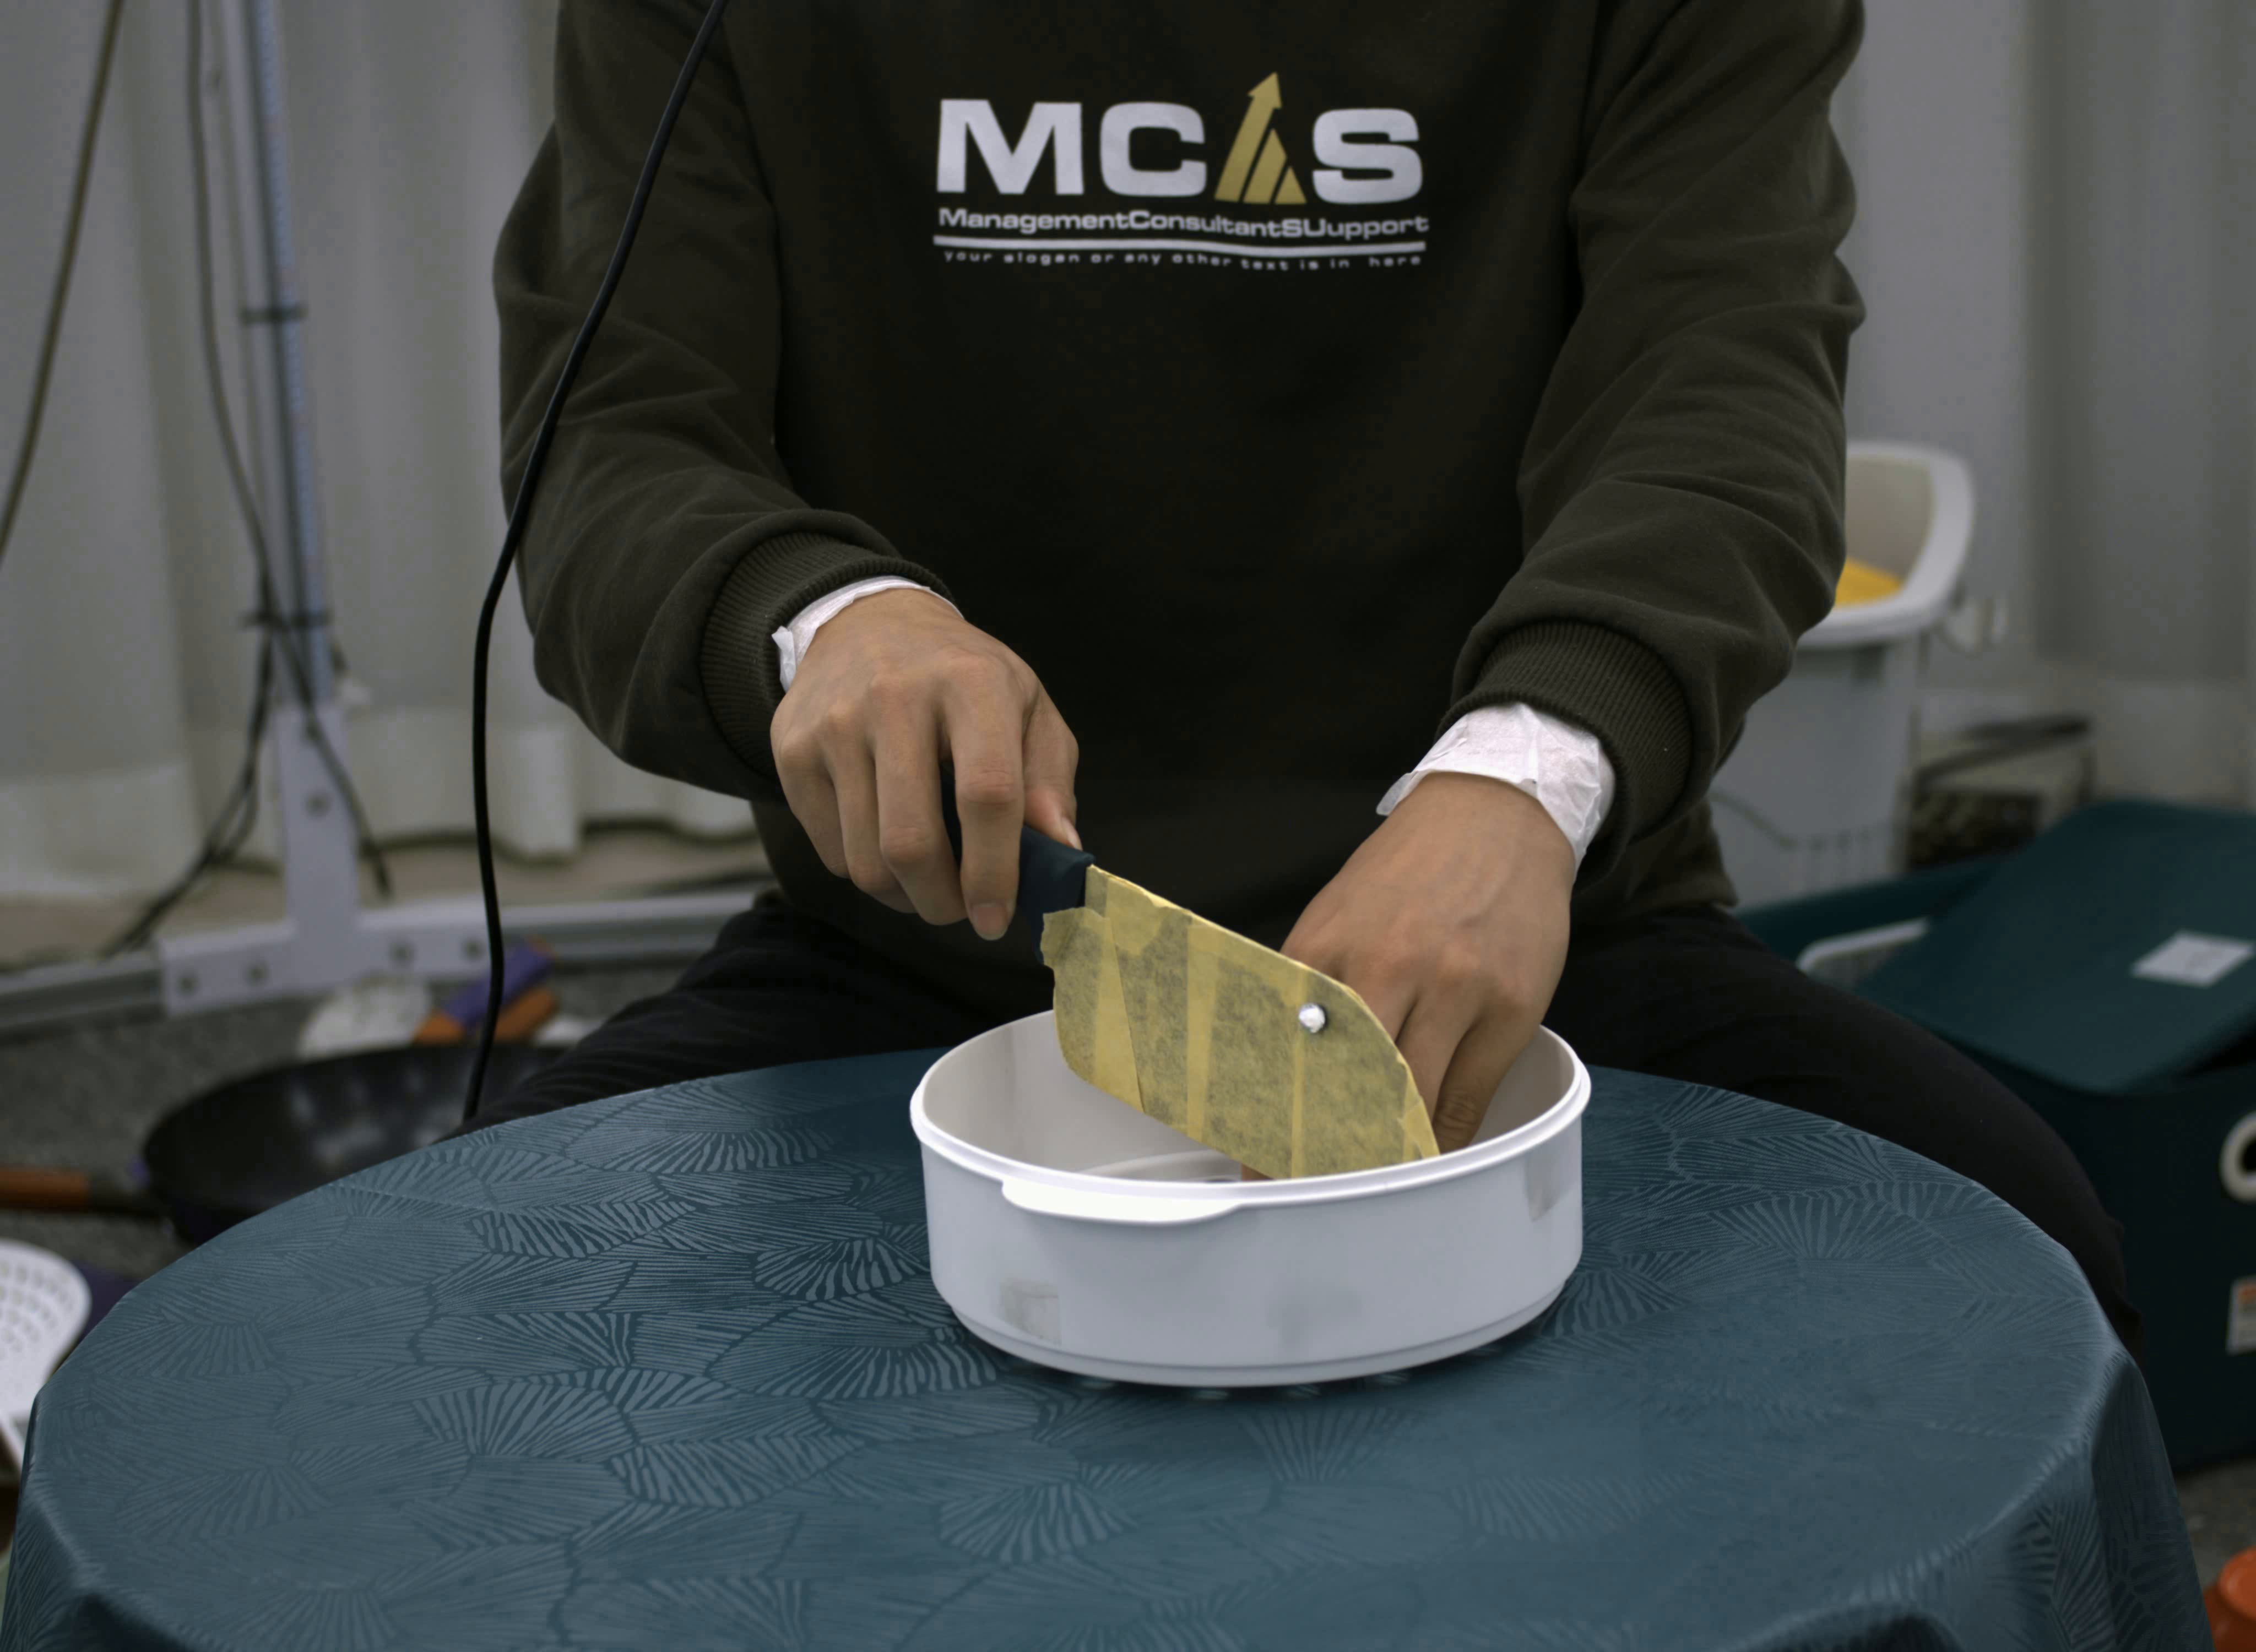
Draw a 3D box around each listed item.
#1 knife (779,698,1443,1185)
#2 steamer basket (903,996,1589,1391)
[{"bbox_3d":[-0.007,0.036,1.622,0.027,0.080,0.292,-29,44,-31],"label":"knife"},{"bbox_3d":[0.035,0.107,1.609,0.202,0.069,0.231,5,15,24],"label":"steamer basket"}]
